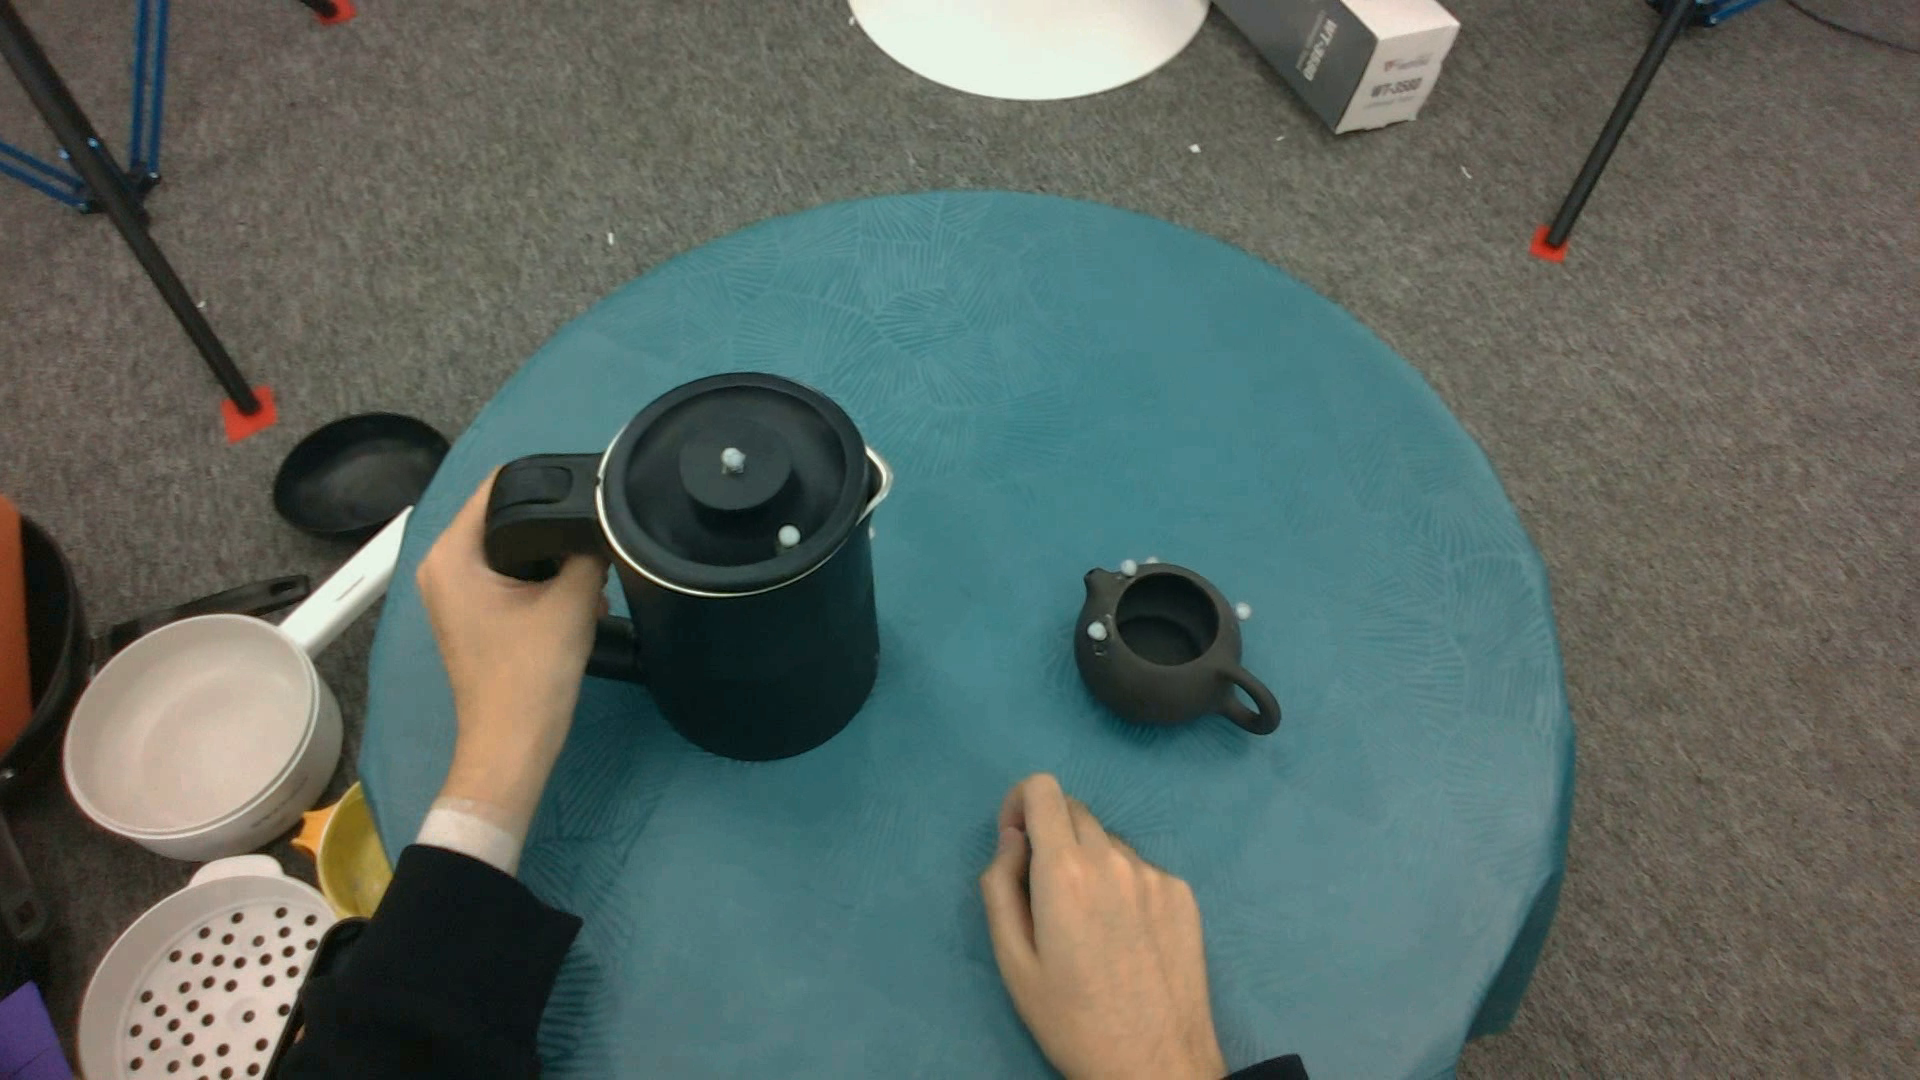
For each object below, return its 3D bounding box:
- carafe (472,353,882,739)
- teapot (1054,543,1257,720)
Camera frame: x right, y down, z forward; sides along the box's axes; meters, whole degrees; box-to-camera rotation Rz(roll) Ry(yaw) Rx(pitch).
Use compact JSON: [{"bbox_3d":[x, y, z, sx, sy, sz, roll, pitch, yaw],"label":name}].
[{"bbox_3d":[-0.122,0.006,0.612,0.172,0.172,0.115,-1,60,-6],"label":"carafe"},{"bbox_3d":[0.096,0.047,0.667,0.114,0.053,0.083,38,65,23],"label":"teapot"}]
